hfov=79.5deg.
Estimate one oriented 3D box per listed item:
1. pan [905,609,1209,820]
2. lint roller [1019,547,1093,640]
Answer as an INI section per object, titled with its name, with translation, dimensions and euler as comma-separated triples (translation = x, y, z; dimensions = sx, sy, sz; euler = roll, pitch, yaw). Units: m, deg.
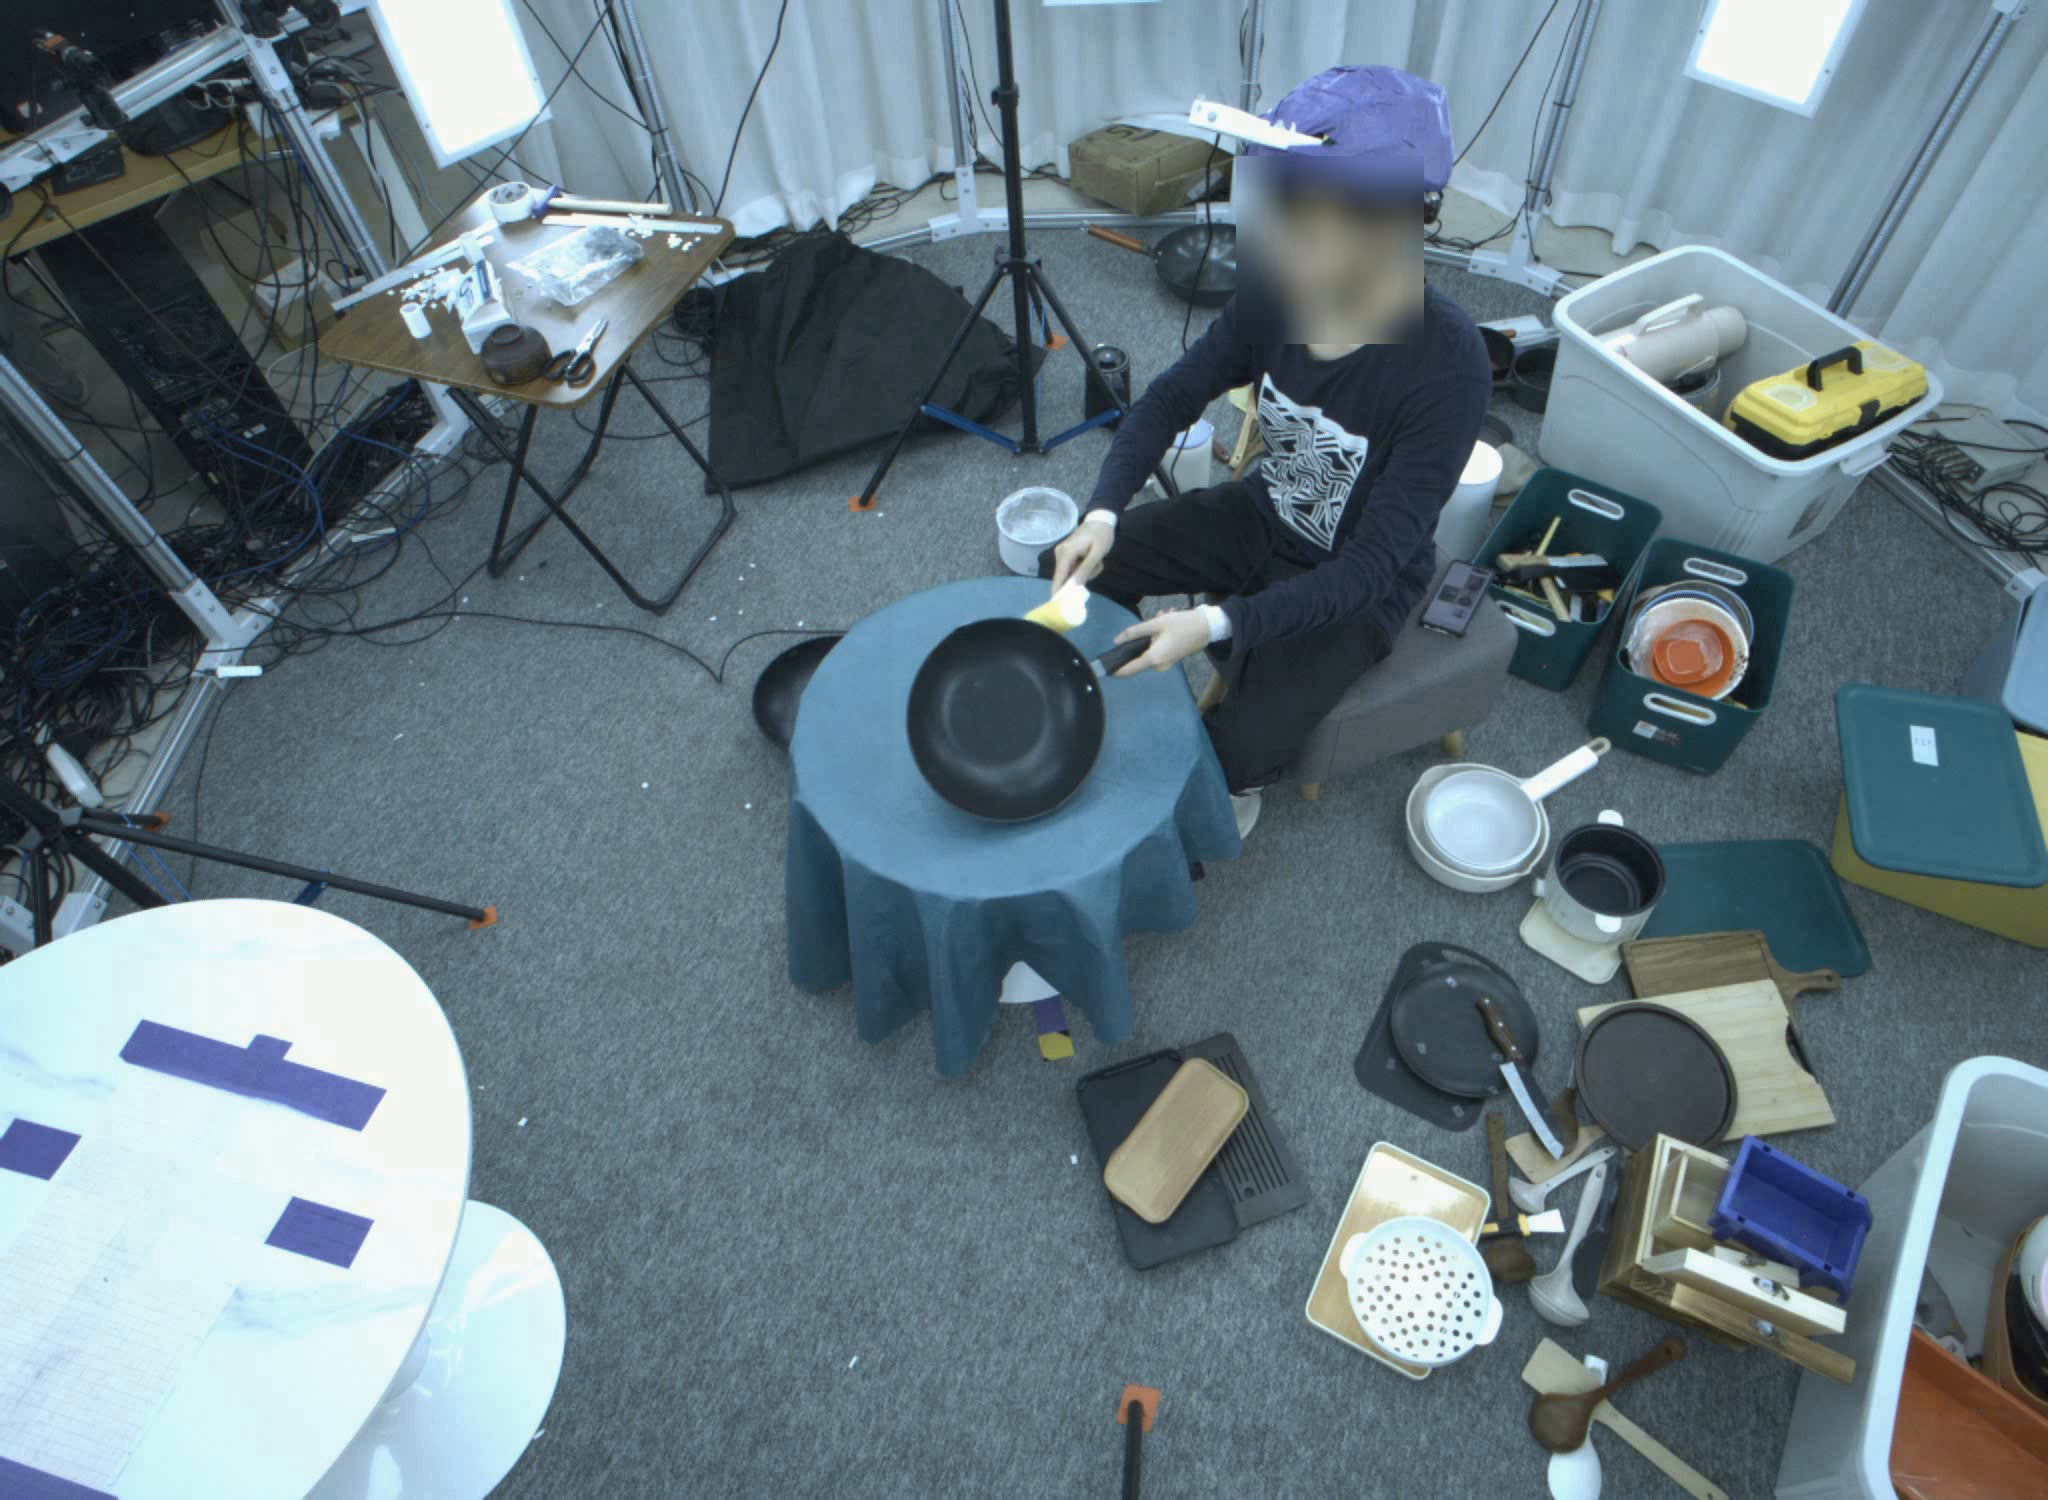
[pan]
translation = 0.047, -0.092, 1.729
dimensions = 0.465, 0.085, 0.291
euler = -30, 104, -10
[lint roller]
translation = 0.048, -0.233, 1.781
dimensions = 0.052, 0.171, 0.191
euler = 36, 59, -25
